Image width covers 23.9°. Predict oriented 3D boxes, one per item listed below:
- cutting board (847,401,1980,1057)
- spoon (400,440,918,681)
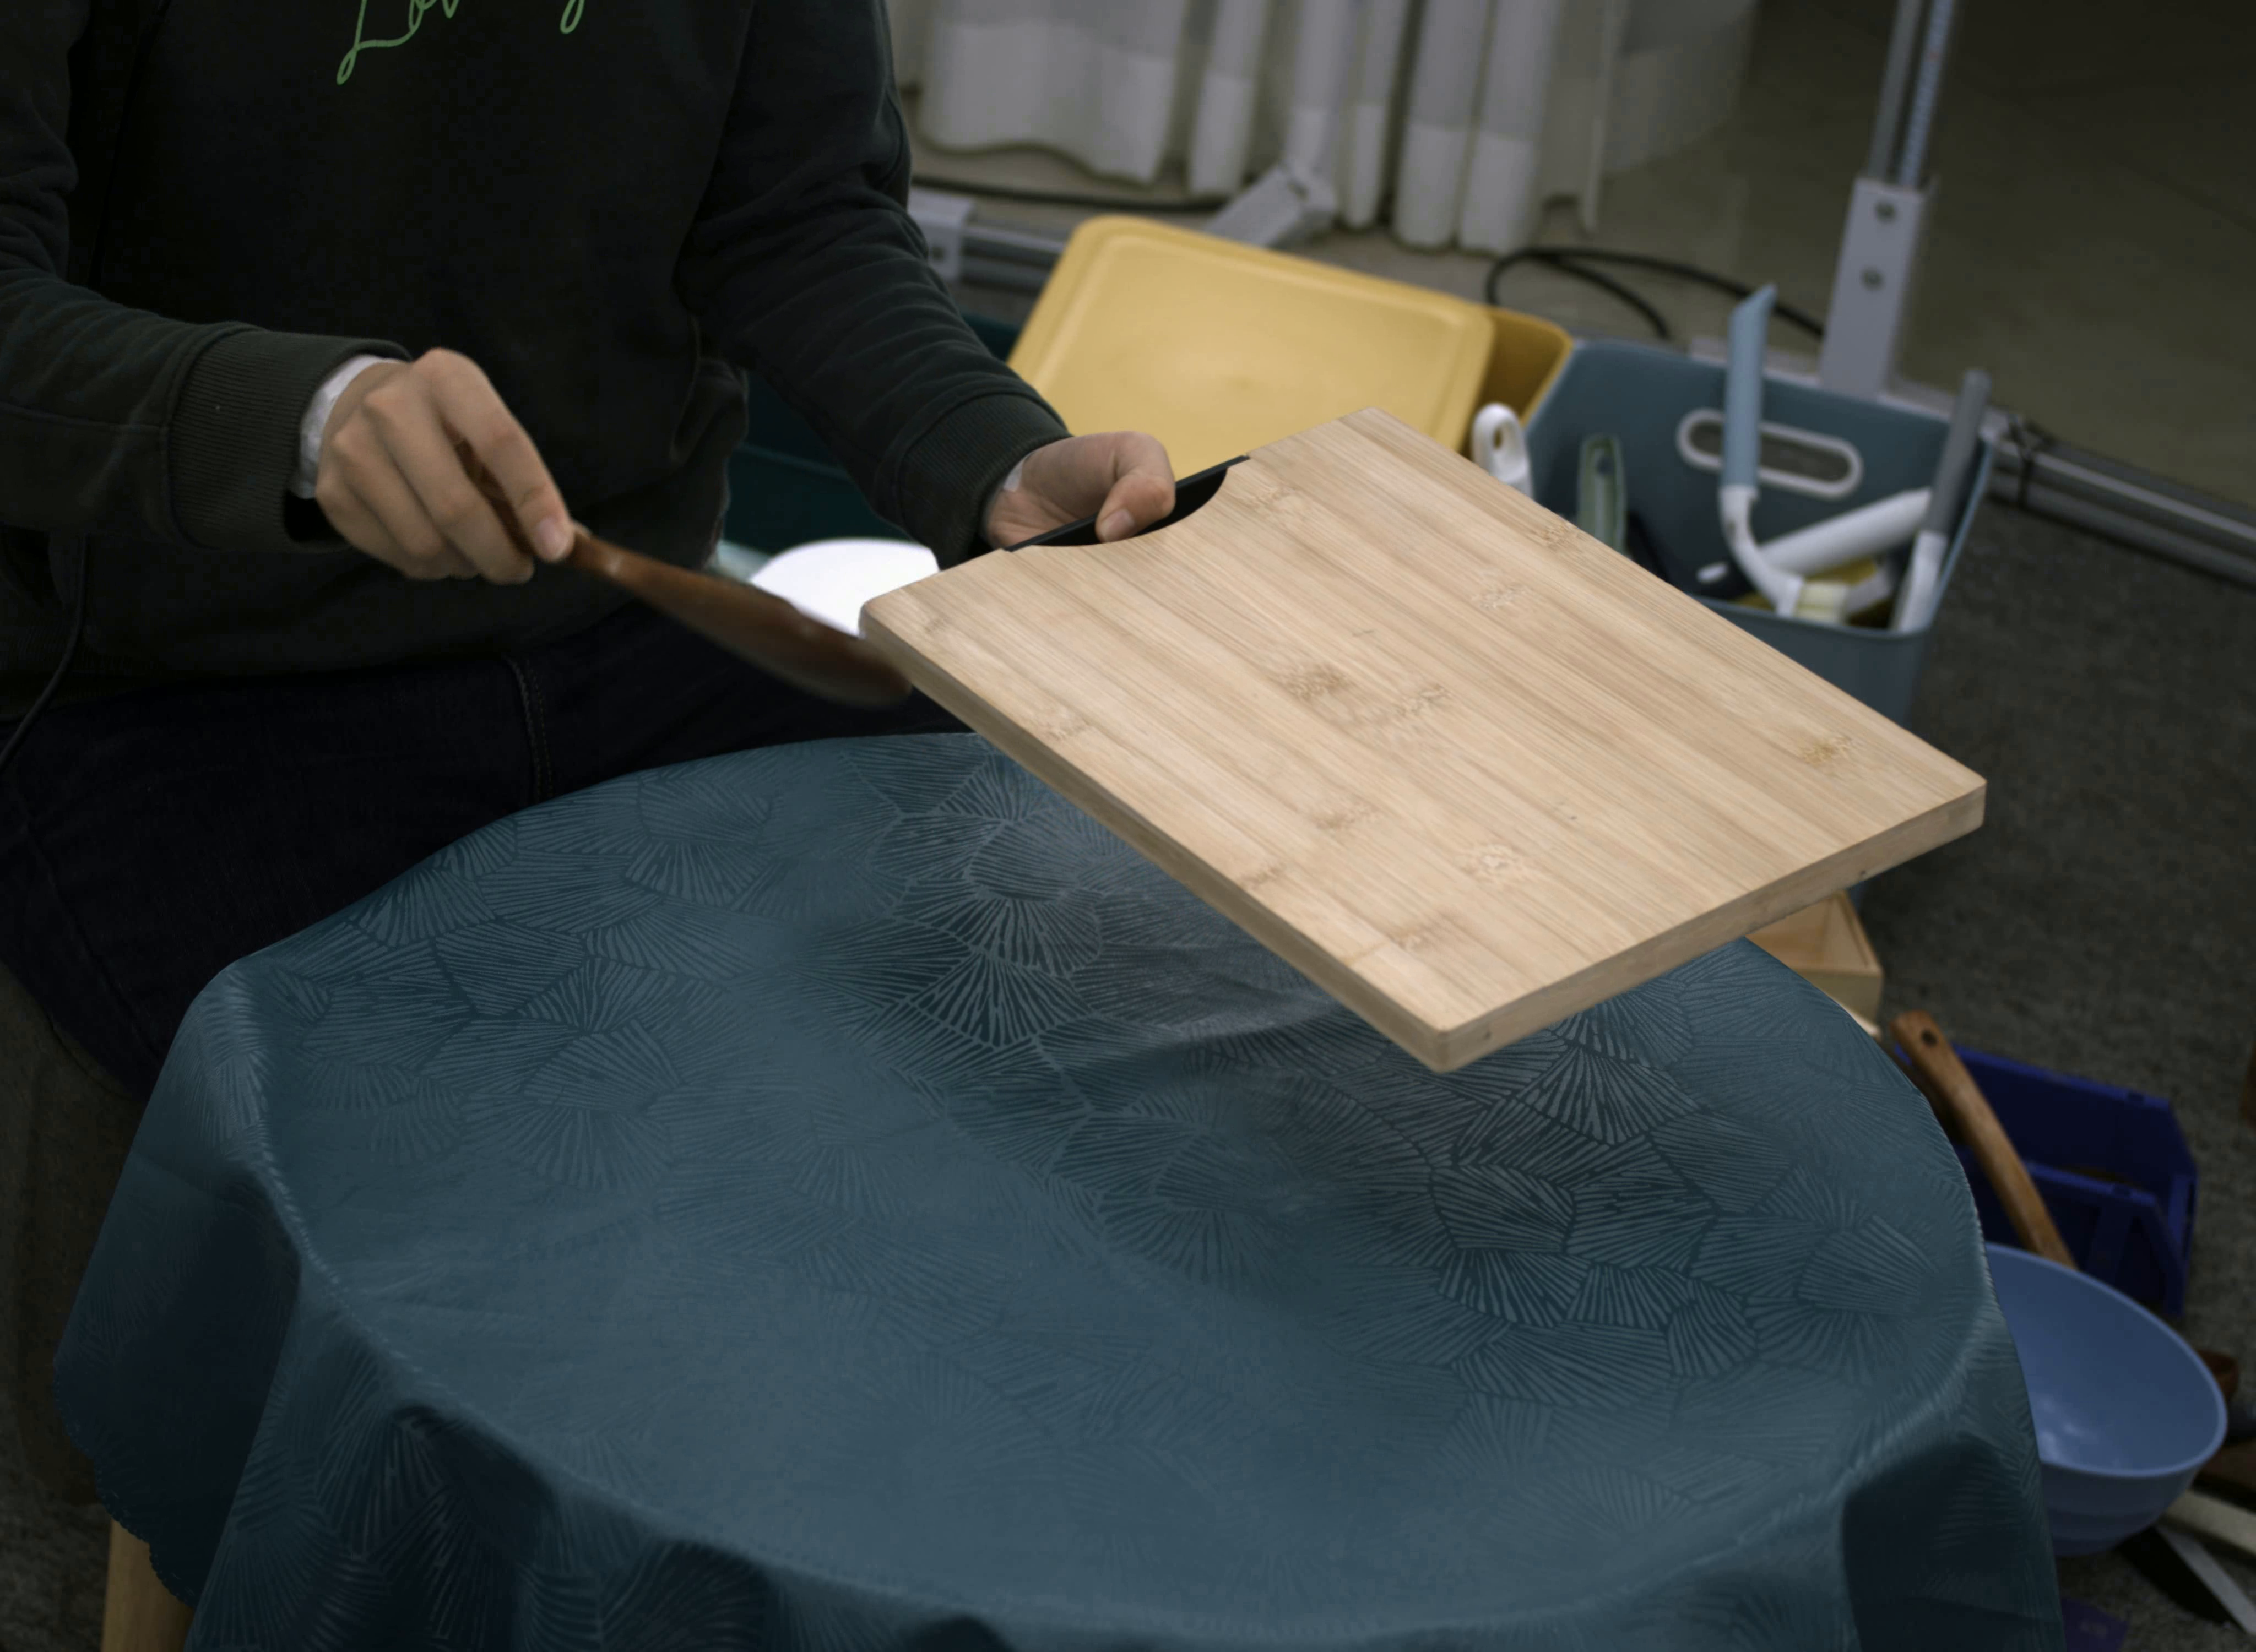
[{"bbox_3d":[0.094,-0.043,1.876,0.249,0.023,0.352,-23,38,-29],"label":"cutting board"},{"bbox_3d":[-0.155,-0.084,1.706,0.217,0.017,0.075,23,-4,35],"label":"spoon"}]
